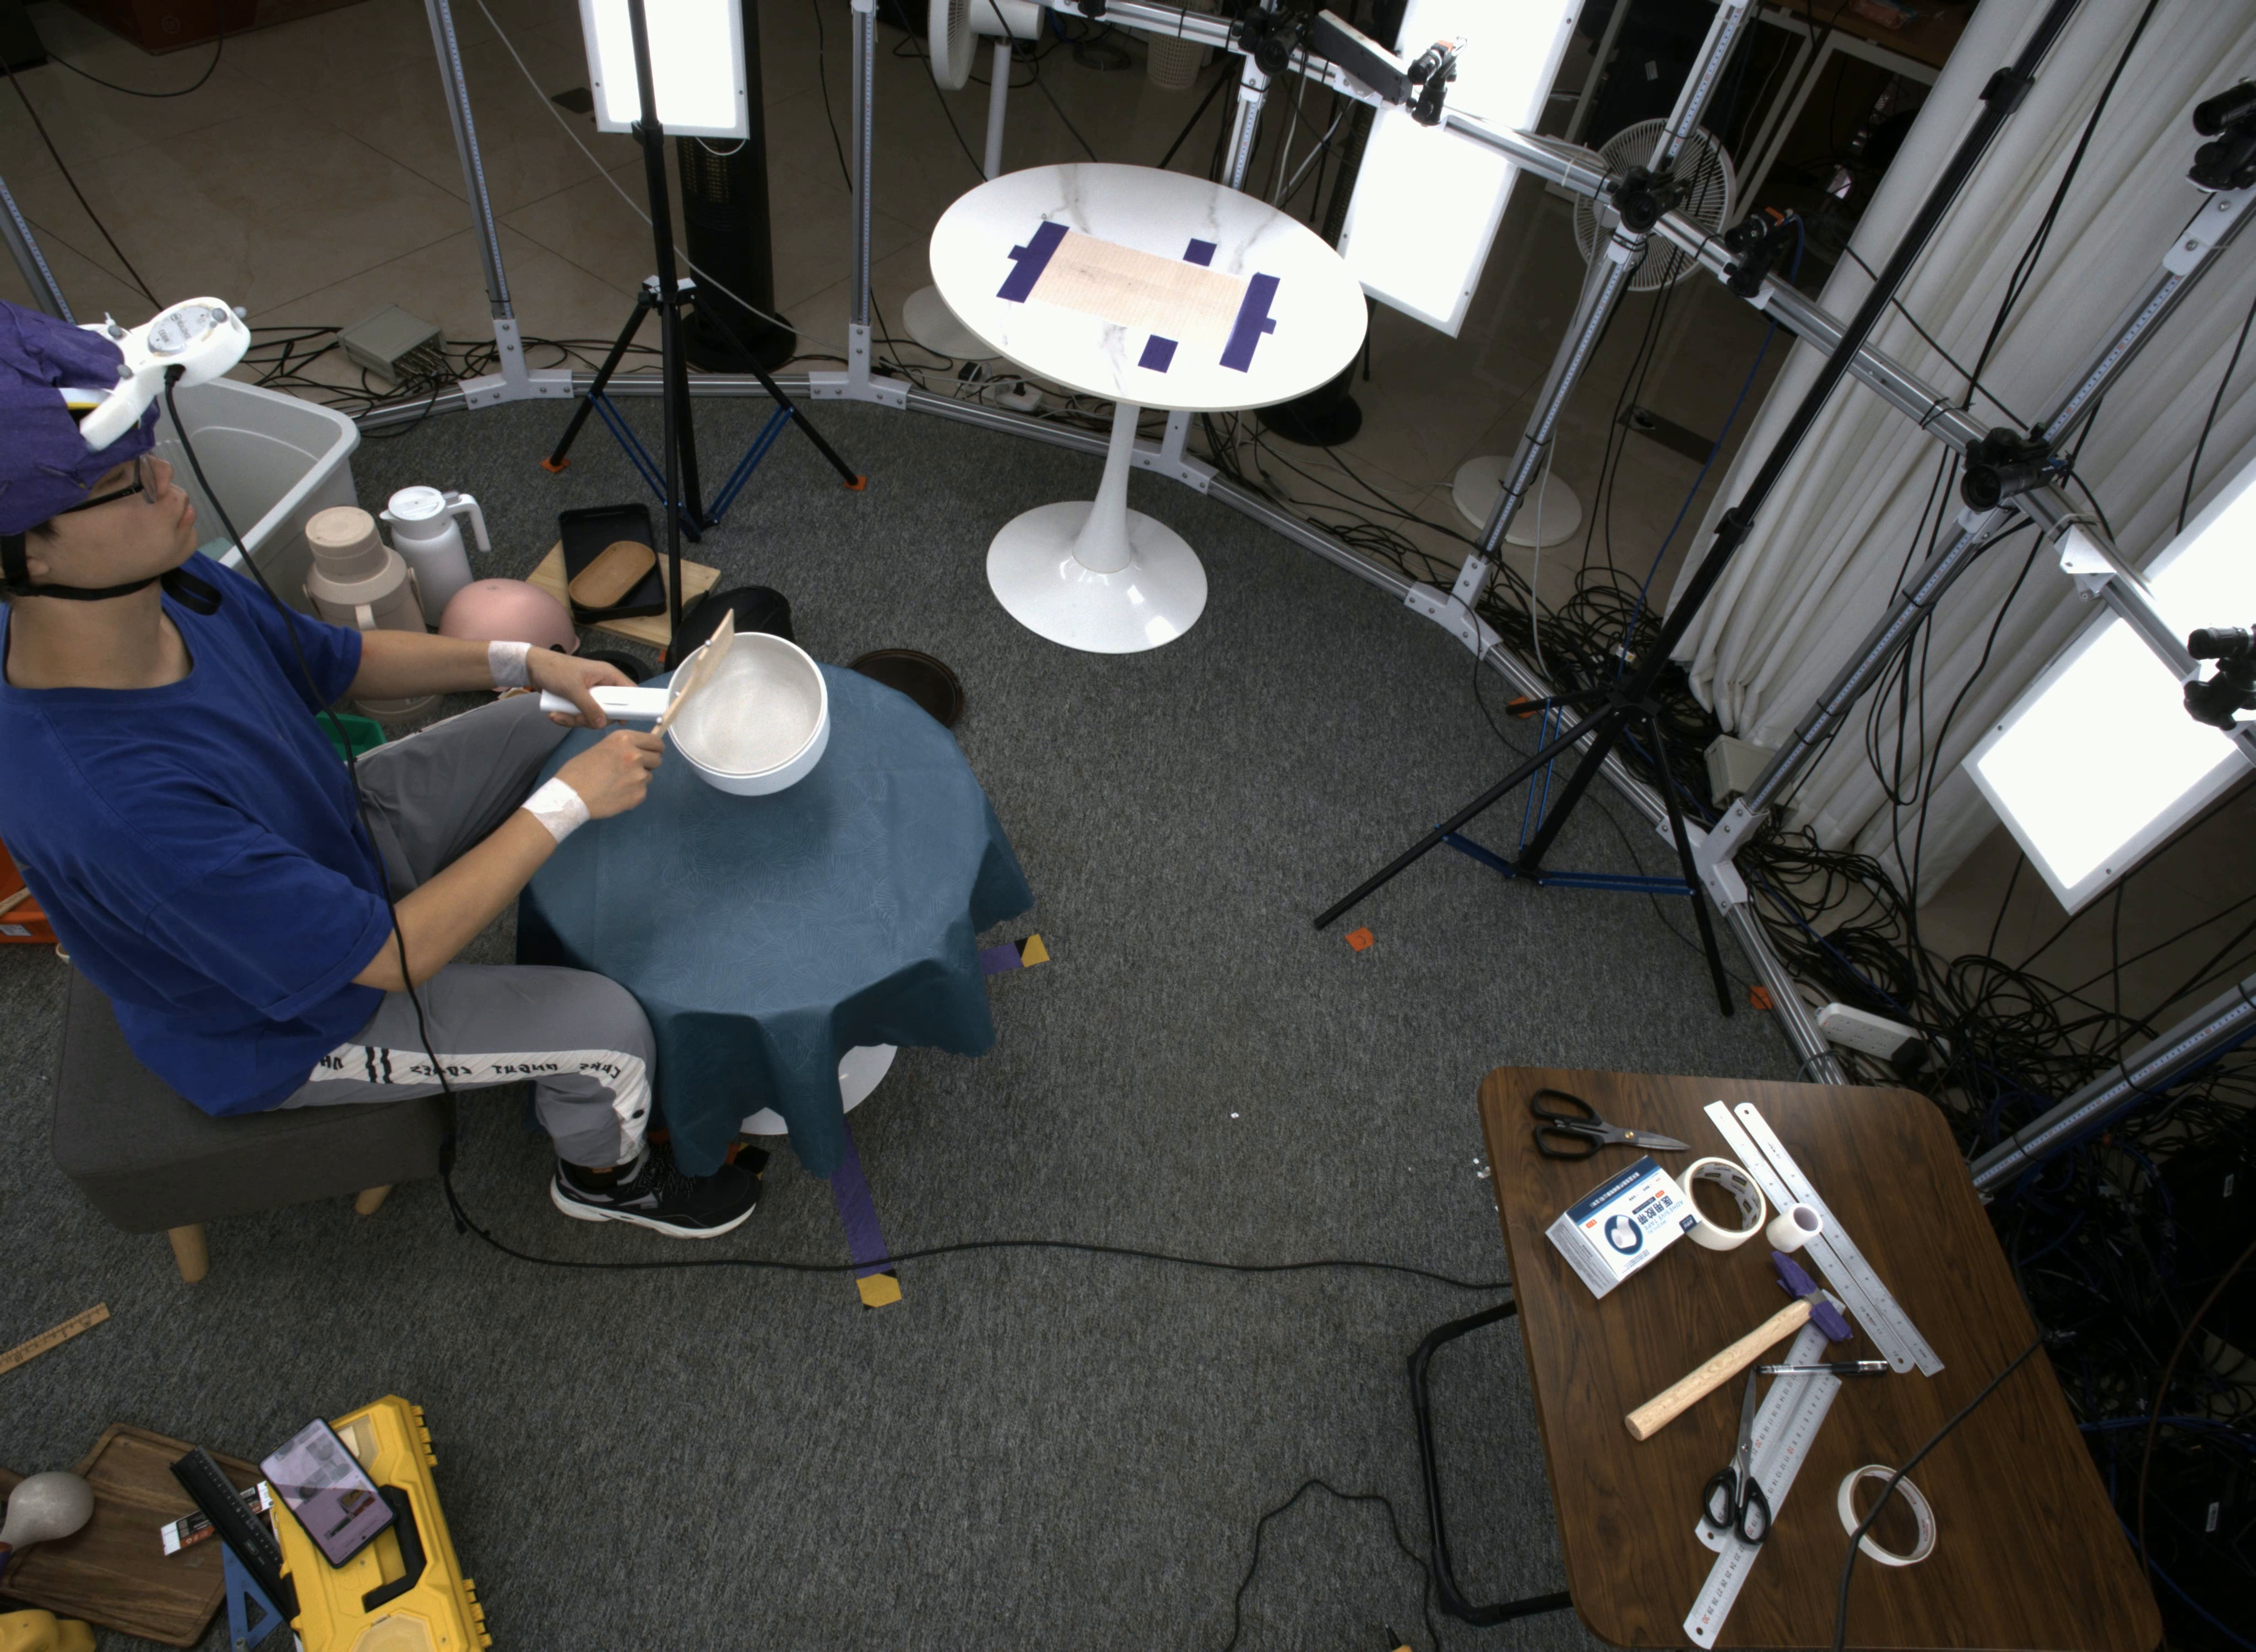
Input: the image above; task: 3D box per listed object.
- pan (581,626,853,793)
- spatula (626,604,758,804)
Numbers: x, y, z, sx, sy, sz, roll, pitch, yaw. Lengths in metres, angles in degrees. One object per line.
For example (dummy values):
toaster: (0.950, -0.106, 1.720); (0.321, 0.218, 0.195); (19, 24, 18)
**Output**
pan: (-0.532, -0.149, 1.665); (0.353, 0.103, 0.200); (3, 74, -7)
spatula: (-0.524, -0.145, 1.553); (0.010, 0.073, 0.292); (28, 63, -2)
